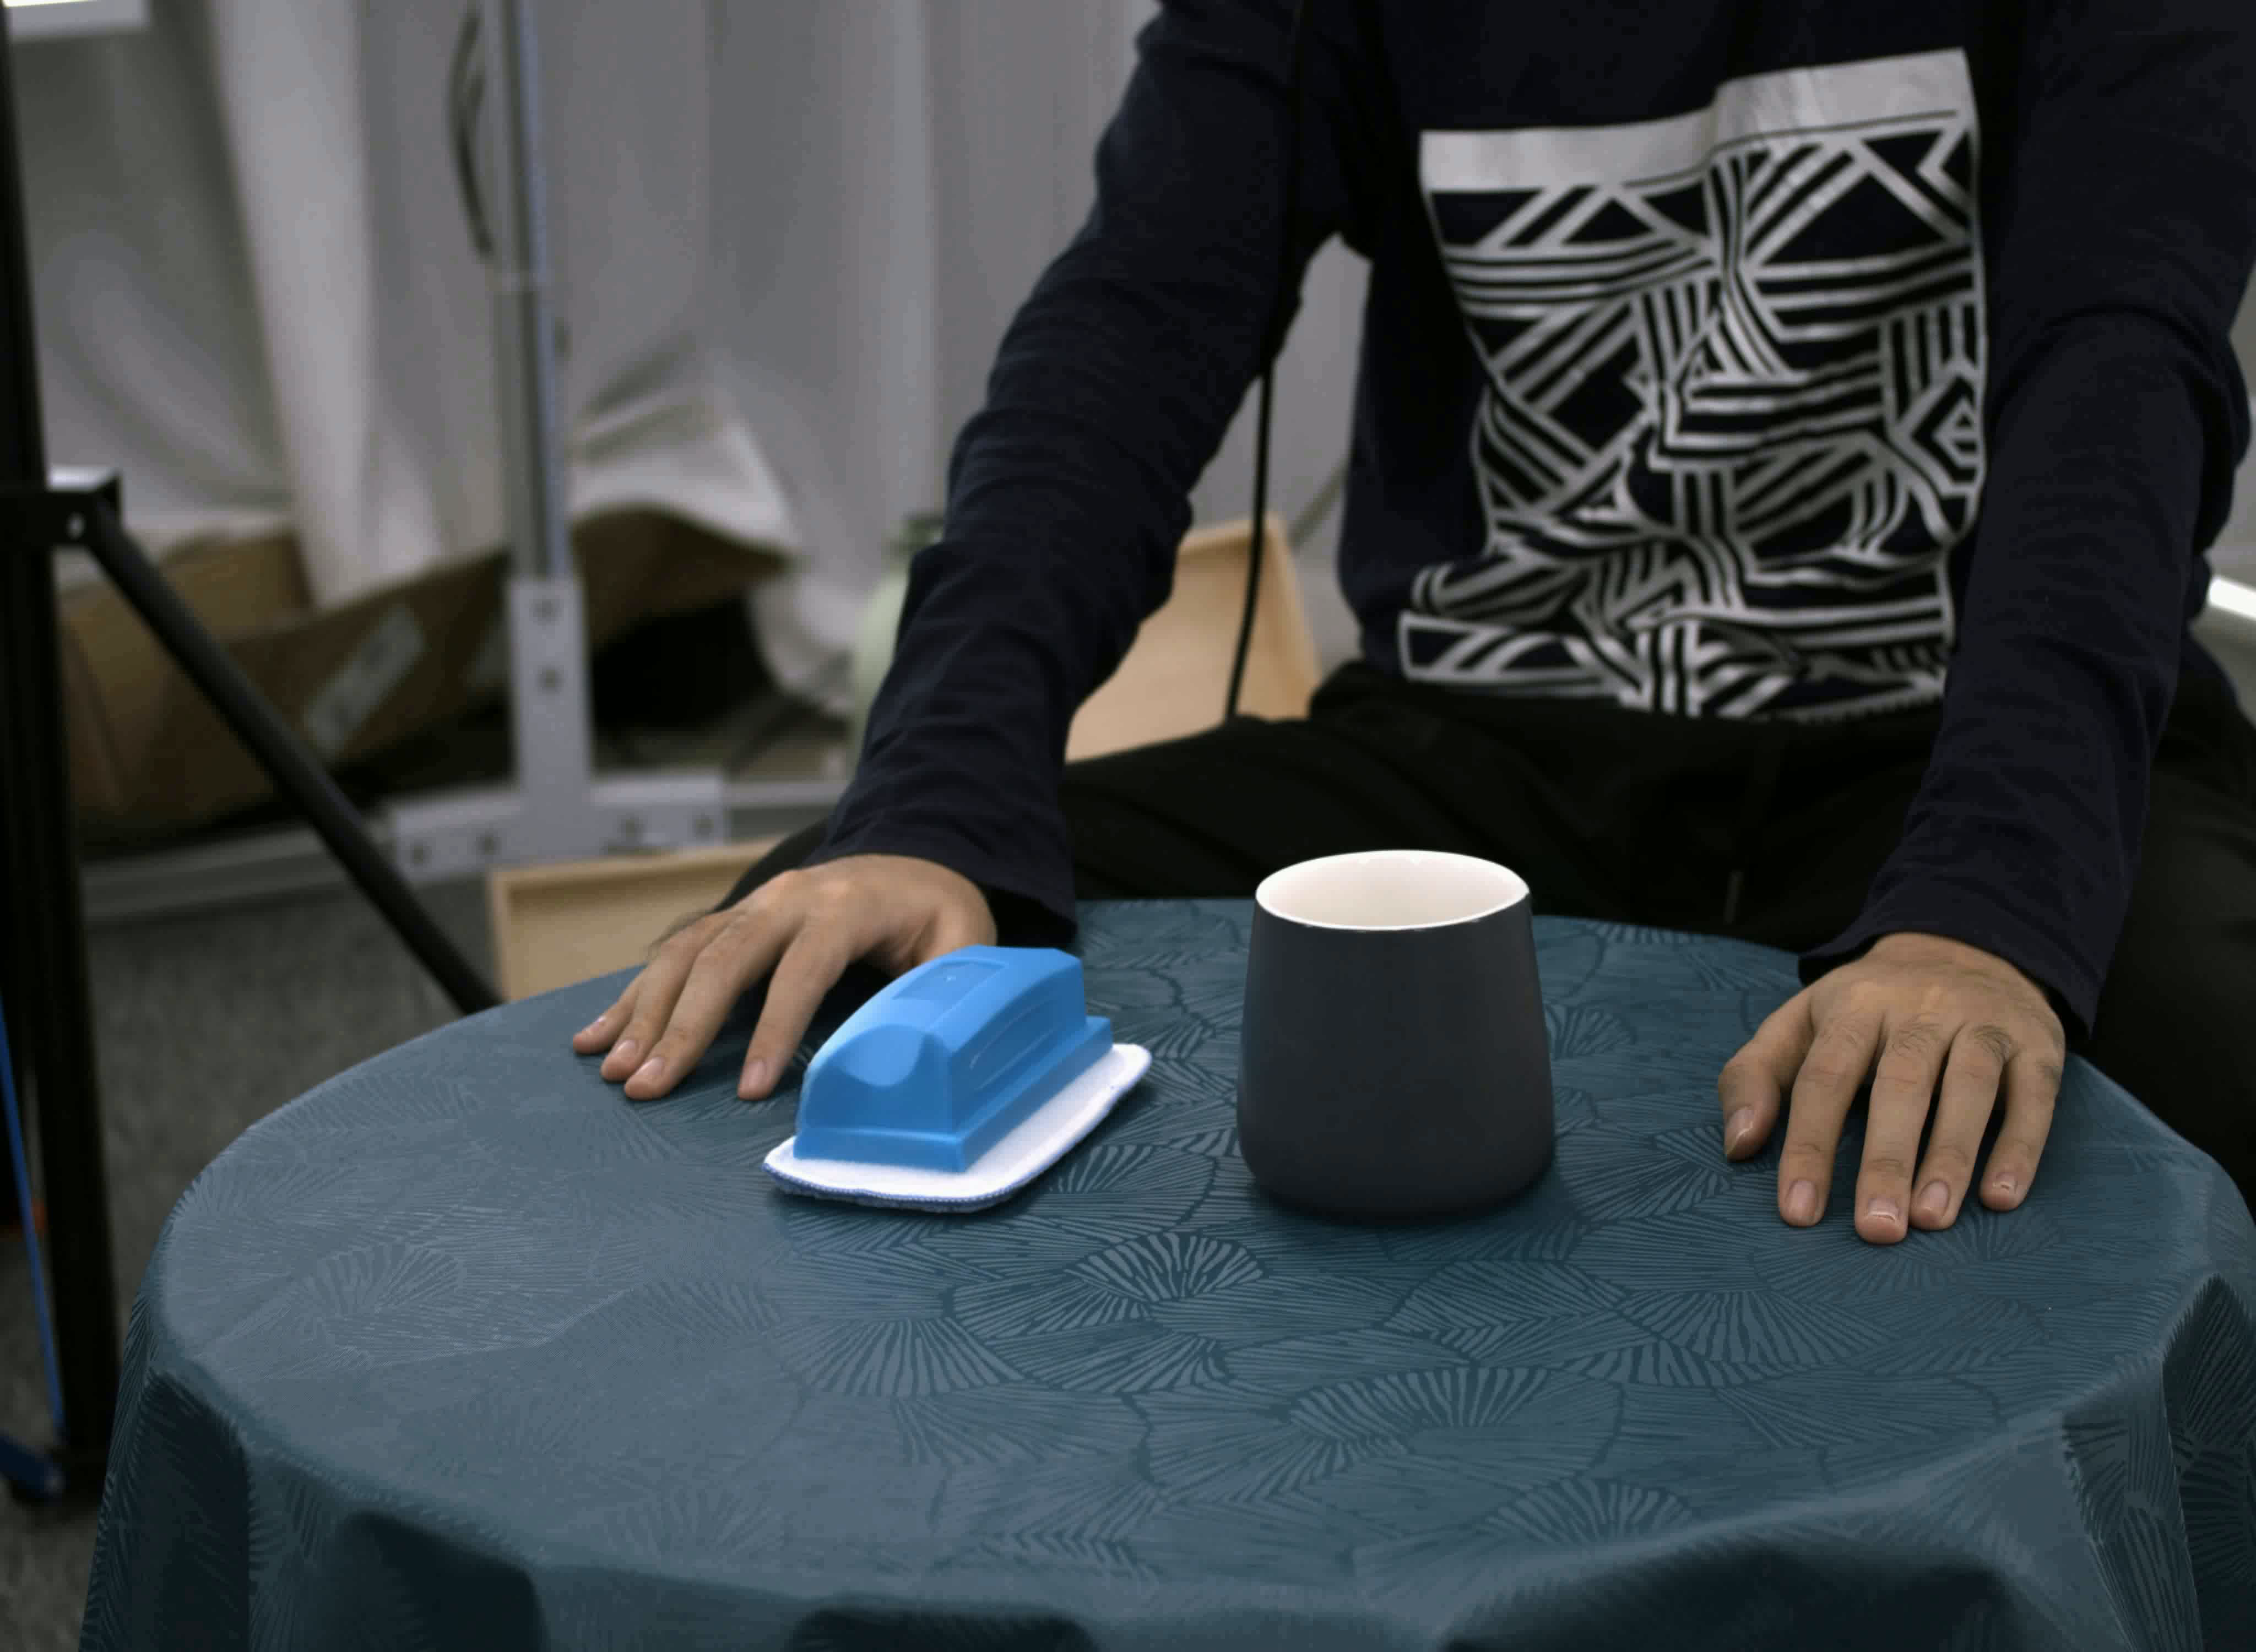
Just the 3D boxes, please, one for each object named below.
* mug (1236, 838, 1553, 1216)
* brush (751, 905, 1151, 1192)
[{"bbox_3d":[0.084,0.054,1.561,0.095,0.090,0.121,6,20,22],"label":"mug"},{"bbox_3d":[-0.052,0.063,1.614,0.085,0.056,0.142,8,21,23],"label":"brush"}]
